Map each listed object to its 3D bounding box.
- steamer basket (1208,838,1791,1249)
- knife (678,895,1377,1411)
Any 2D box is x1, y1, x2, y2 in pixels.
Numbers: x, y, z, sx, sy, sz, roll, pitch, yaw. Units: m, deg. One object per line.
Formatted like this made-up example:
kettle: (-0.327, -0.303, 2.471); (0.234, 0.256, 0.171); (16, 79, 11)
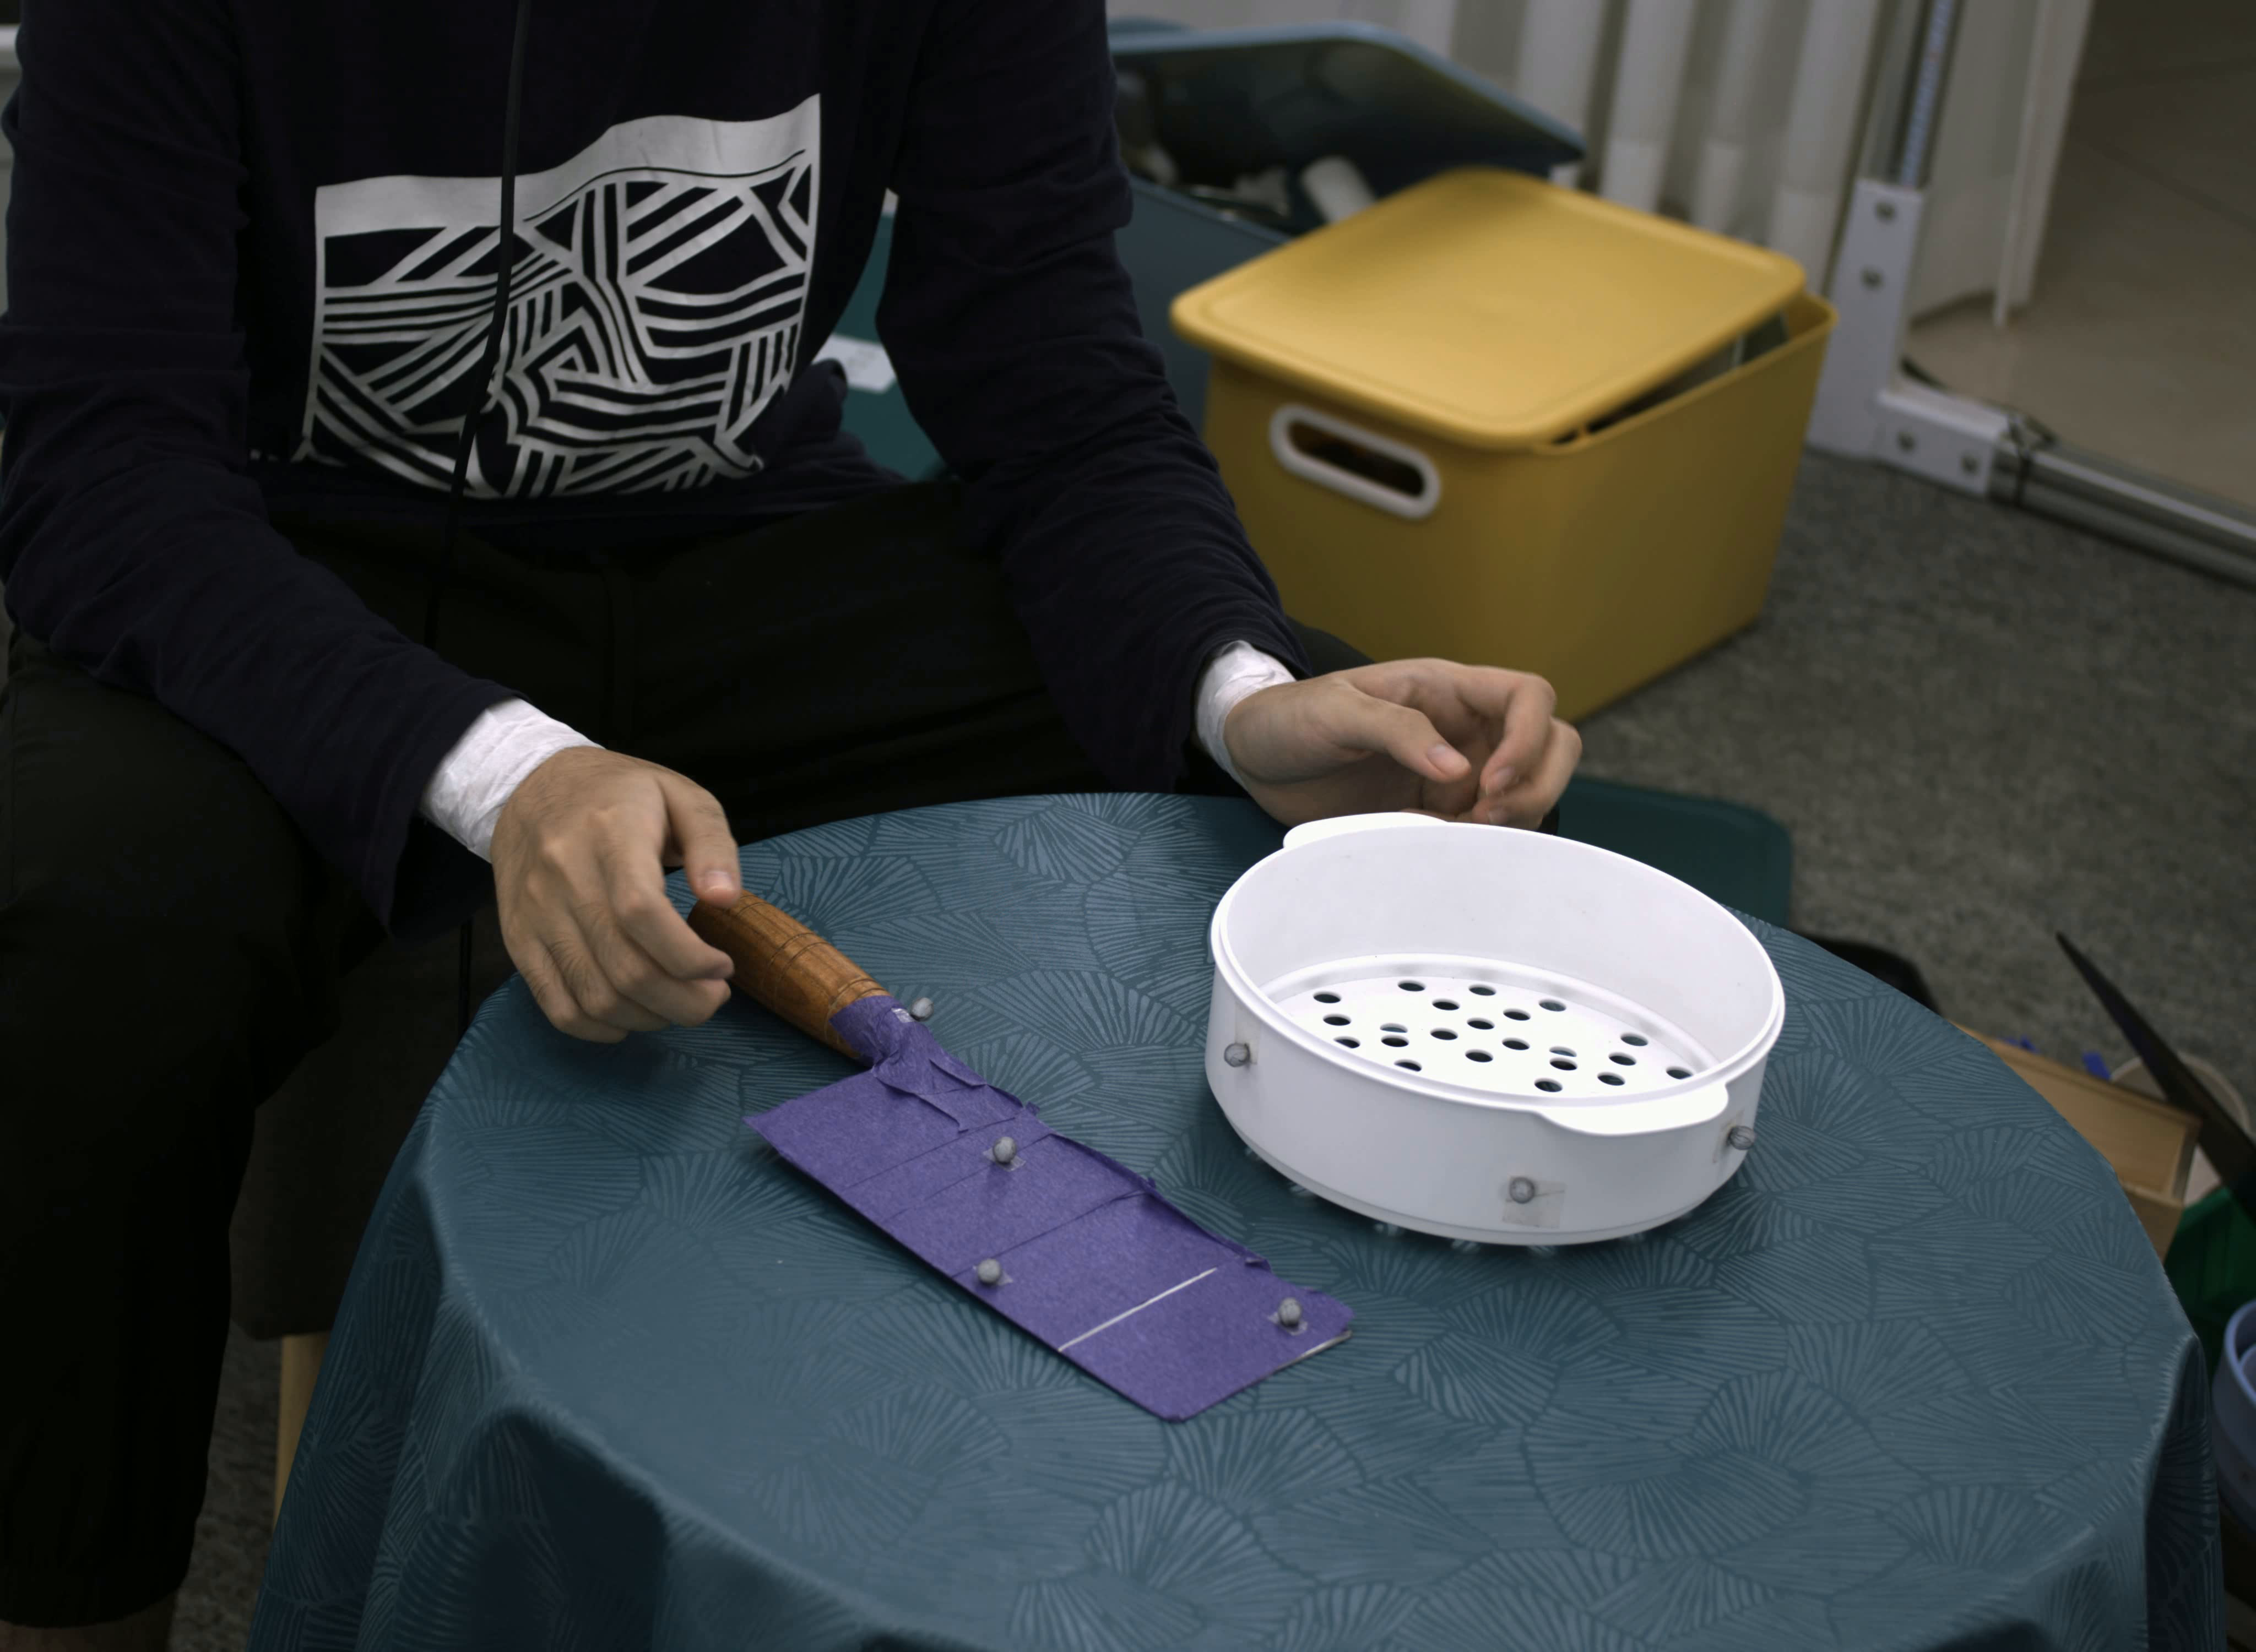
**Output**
steamer basket: (0.127, 0.077, 1.856); (0.200, 0.069, 0.232); (-5, 26, -25)
knife: (-0.062, 0.107, 1.796); (0.317, 0.032, 0.103); (29, 34, 36)
